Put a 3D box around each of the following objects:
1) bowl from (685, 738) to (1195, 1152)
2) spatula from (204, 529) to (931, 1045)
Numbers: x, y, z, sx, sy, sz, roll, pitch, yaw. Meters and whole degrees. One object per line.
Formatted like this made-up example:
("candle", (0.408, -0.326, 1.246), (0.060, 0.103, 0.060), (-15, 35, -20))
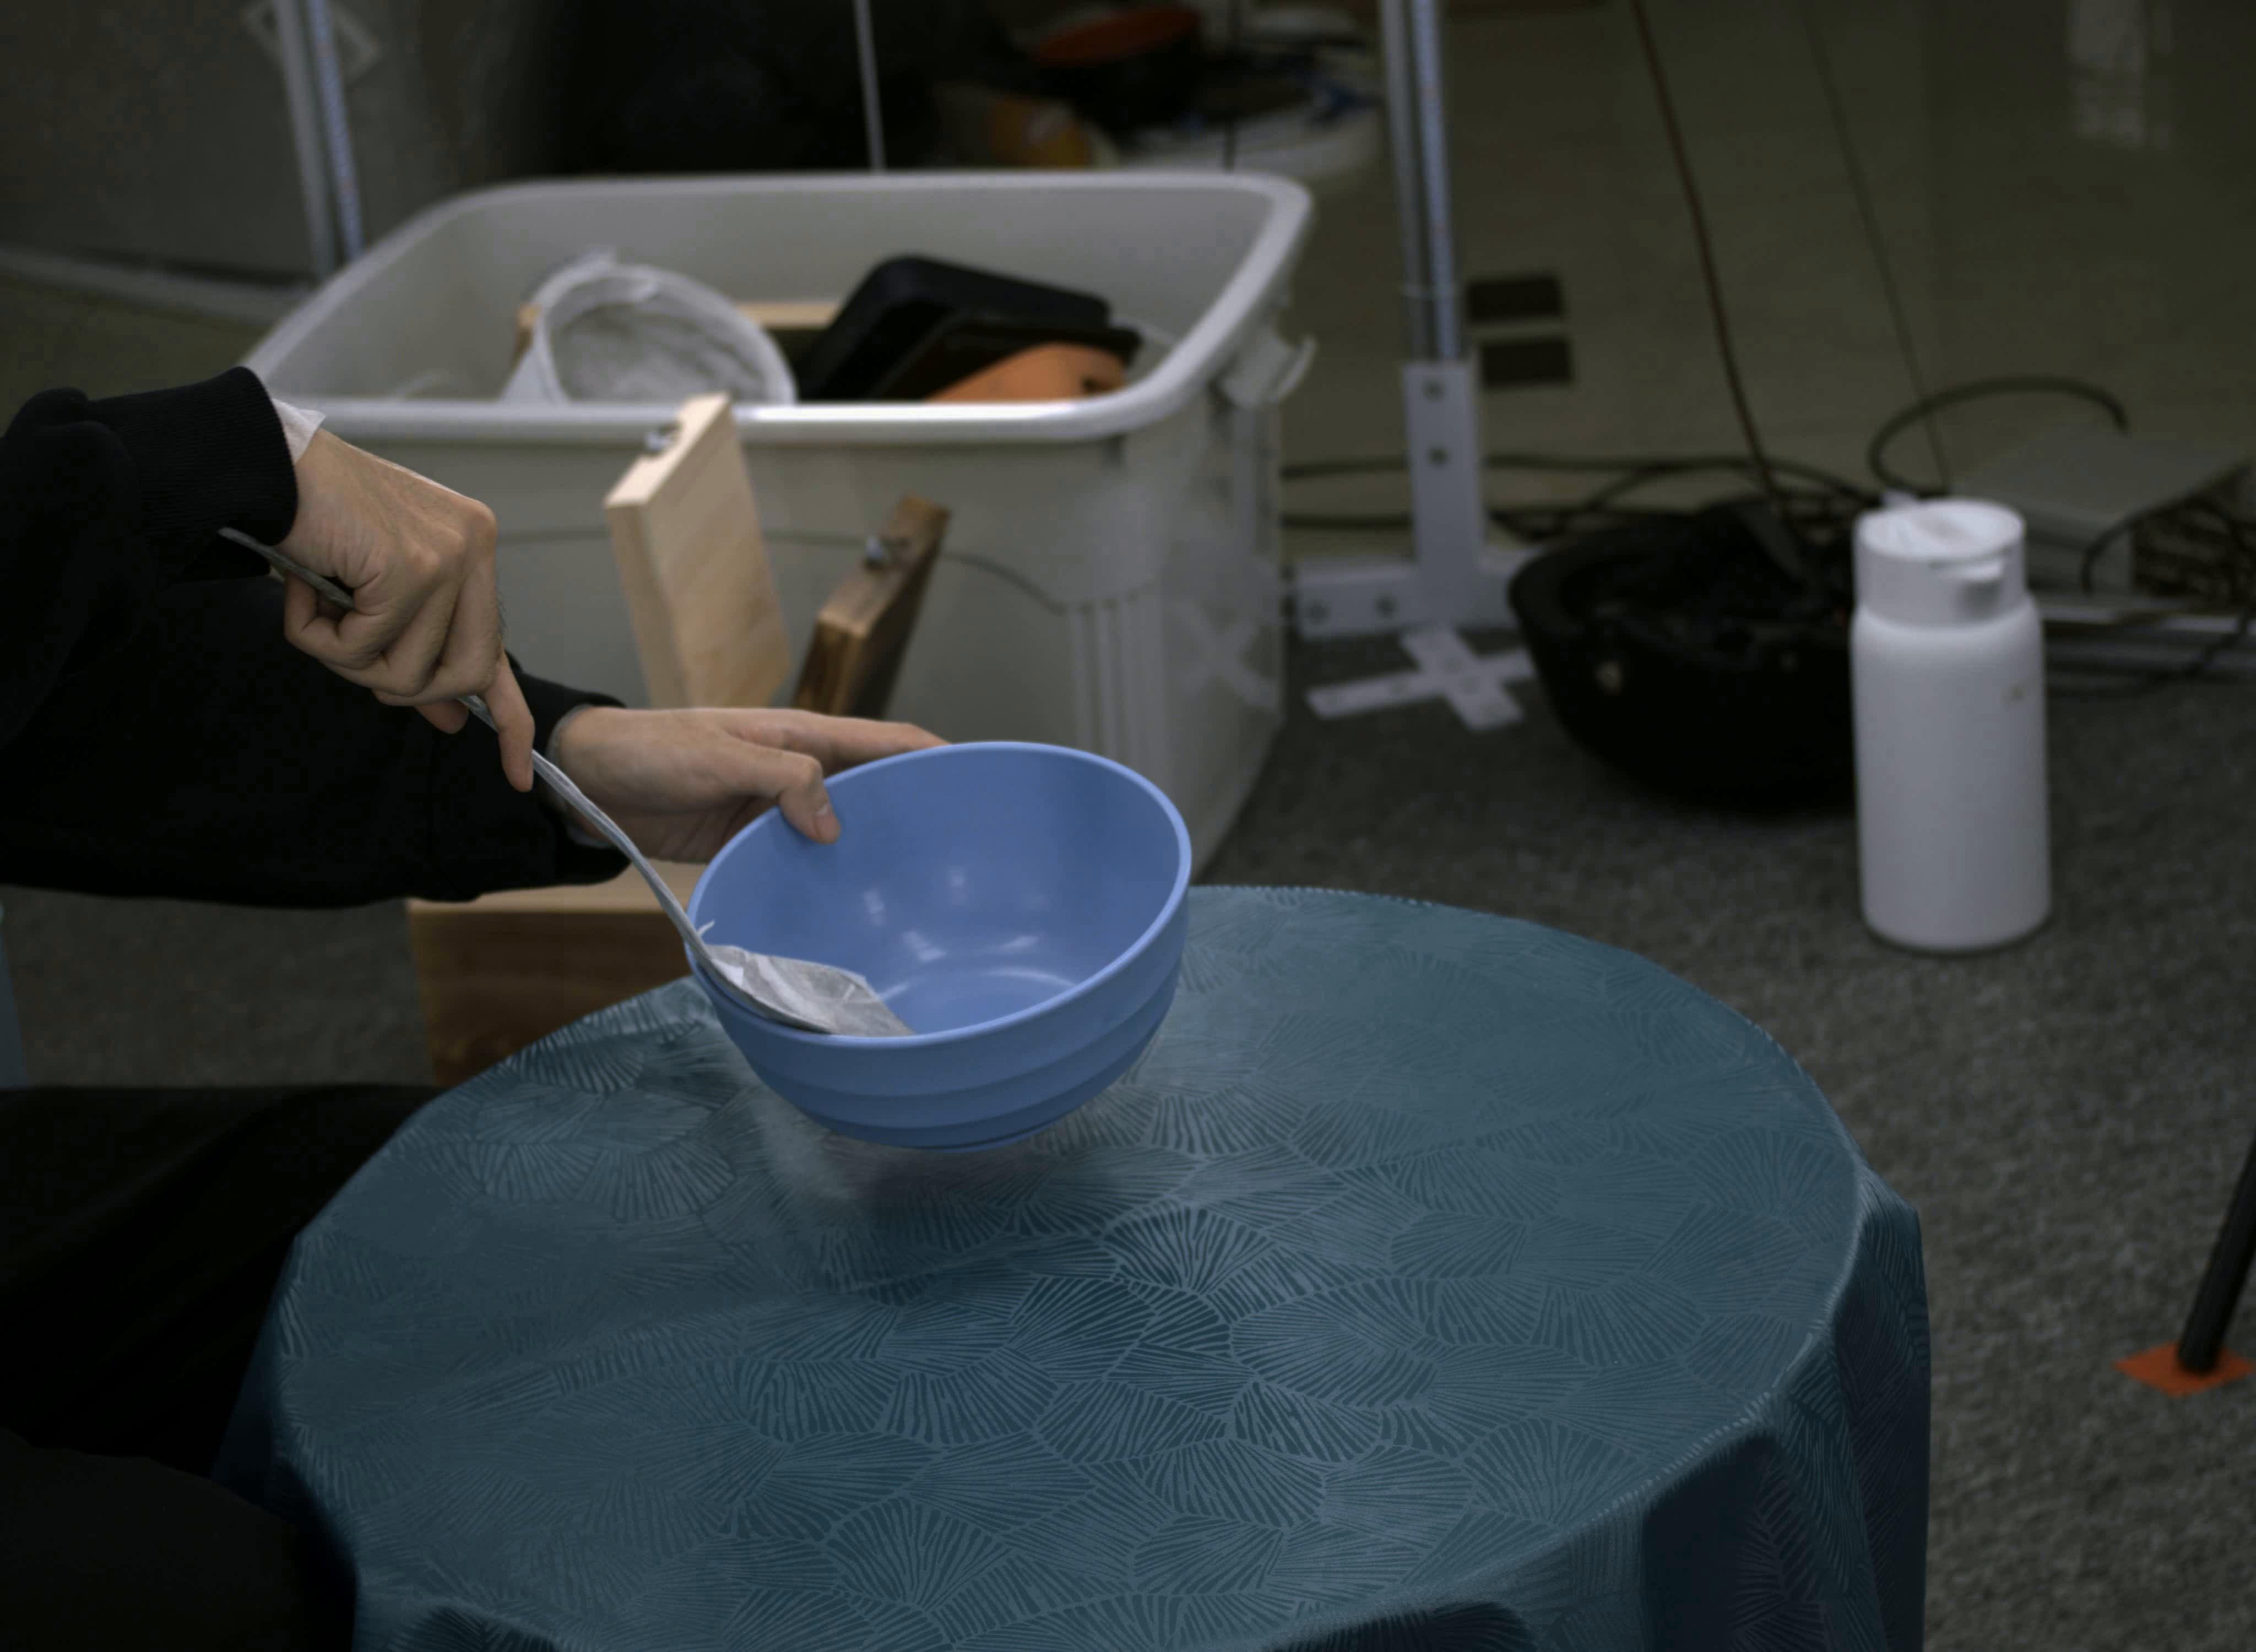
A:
("bowl", (-0.065, 0.061, 2.172), (0.196, 0.097, 0.193), (-7, 35, 5))
("spatula", (-0.194, -0.011, 2.046), (0.045, 0.370, 0.097), (-48, 37, -4))
